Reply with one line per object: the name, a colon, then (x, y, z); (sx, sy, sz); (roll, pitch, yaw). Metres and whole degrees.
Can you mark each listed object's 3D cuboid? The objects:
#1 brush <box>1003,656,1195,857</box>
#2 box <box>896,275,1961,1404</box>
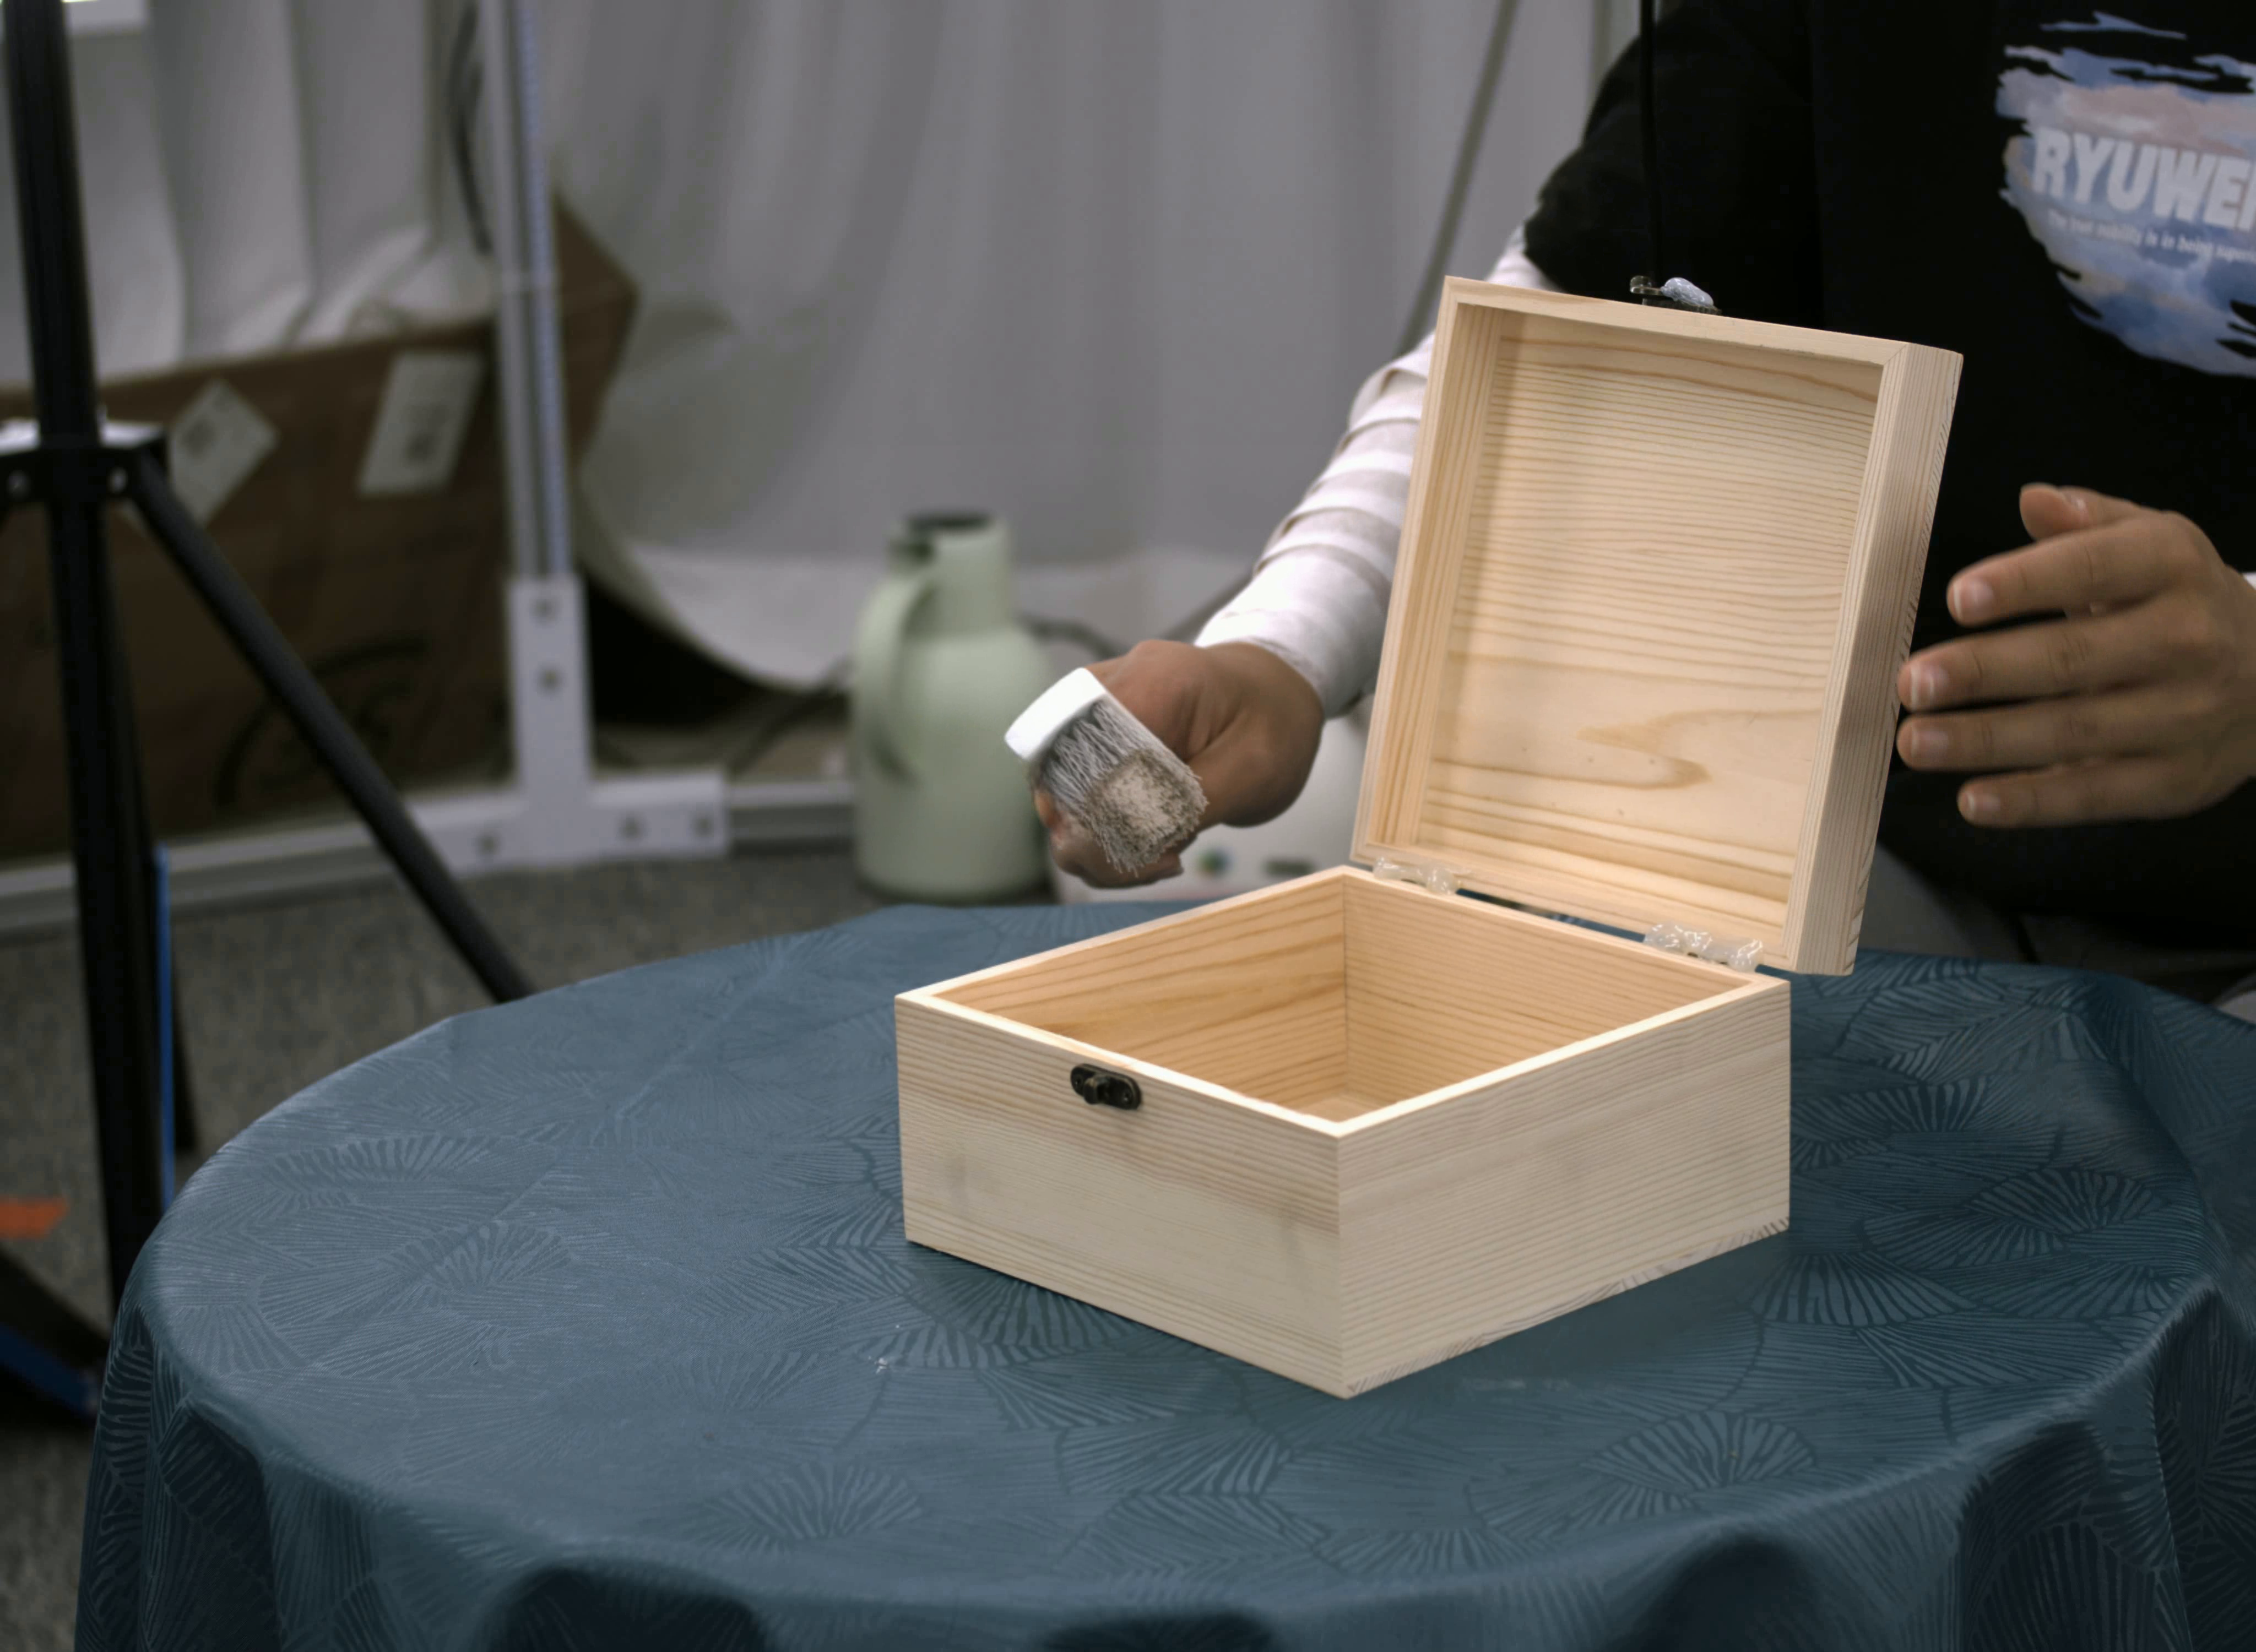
brush: (0.005, -0.005, 1.652); (0.034, 0.051, 0.241); (-41, -13, 0)
box: (0.083, -0.009, 1.506); (0.259, 0.253, 0.186); (-15, 18, -40)
